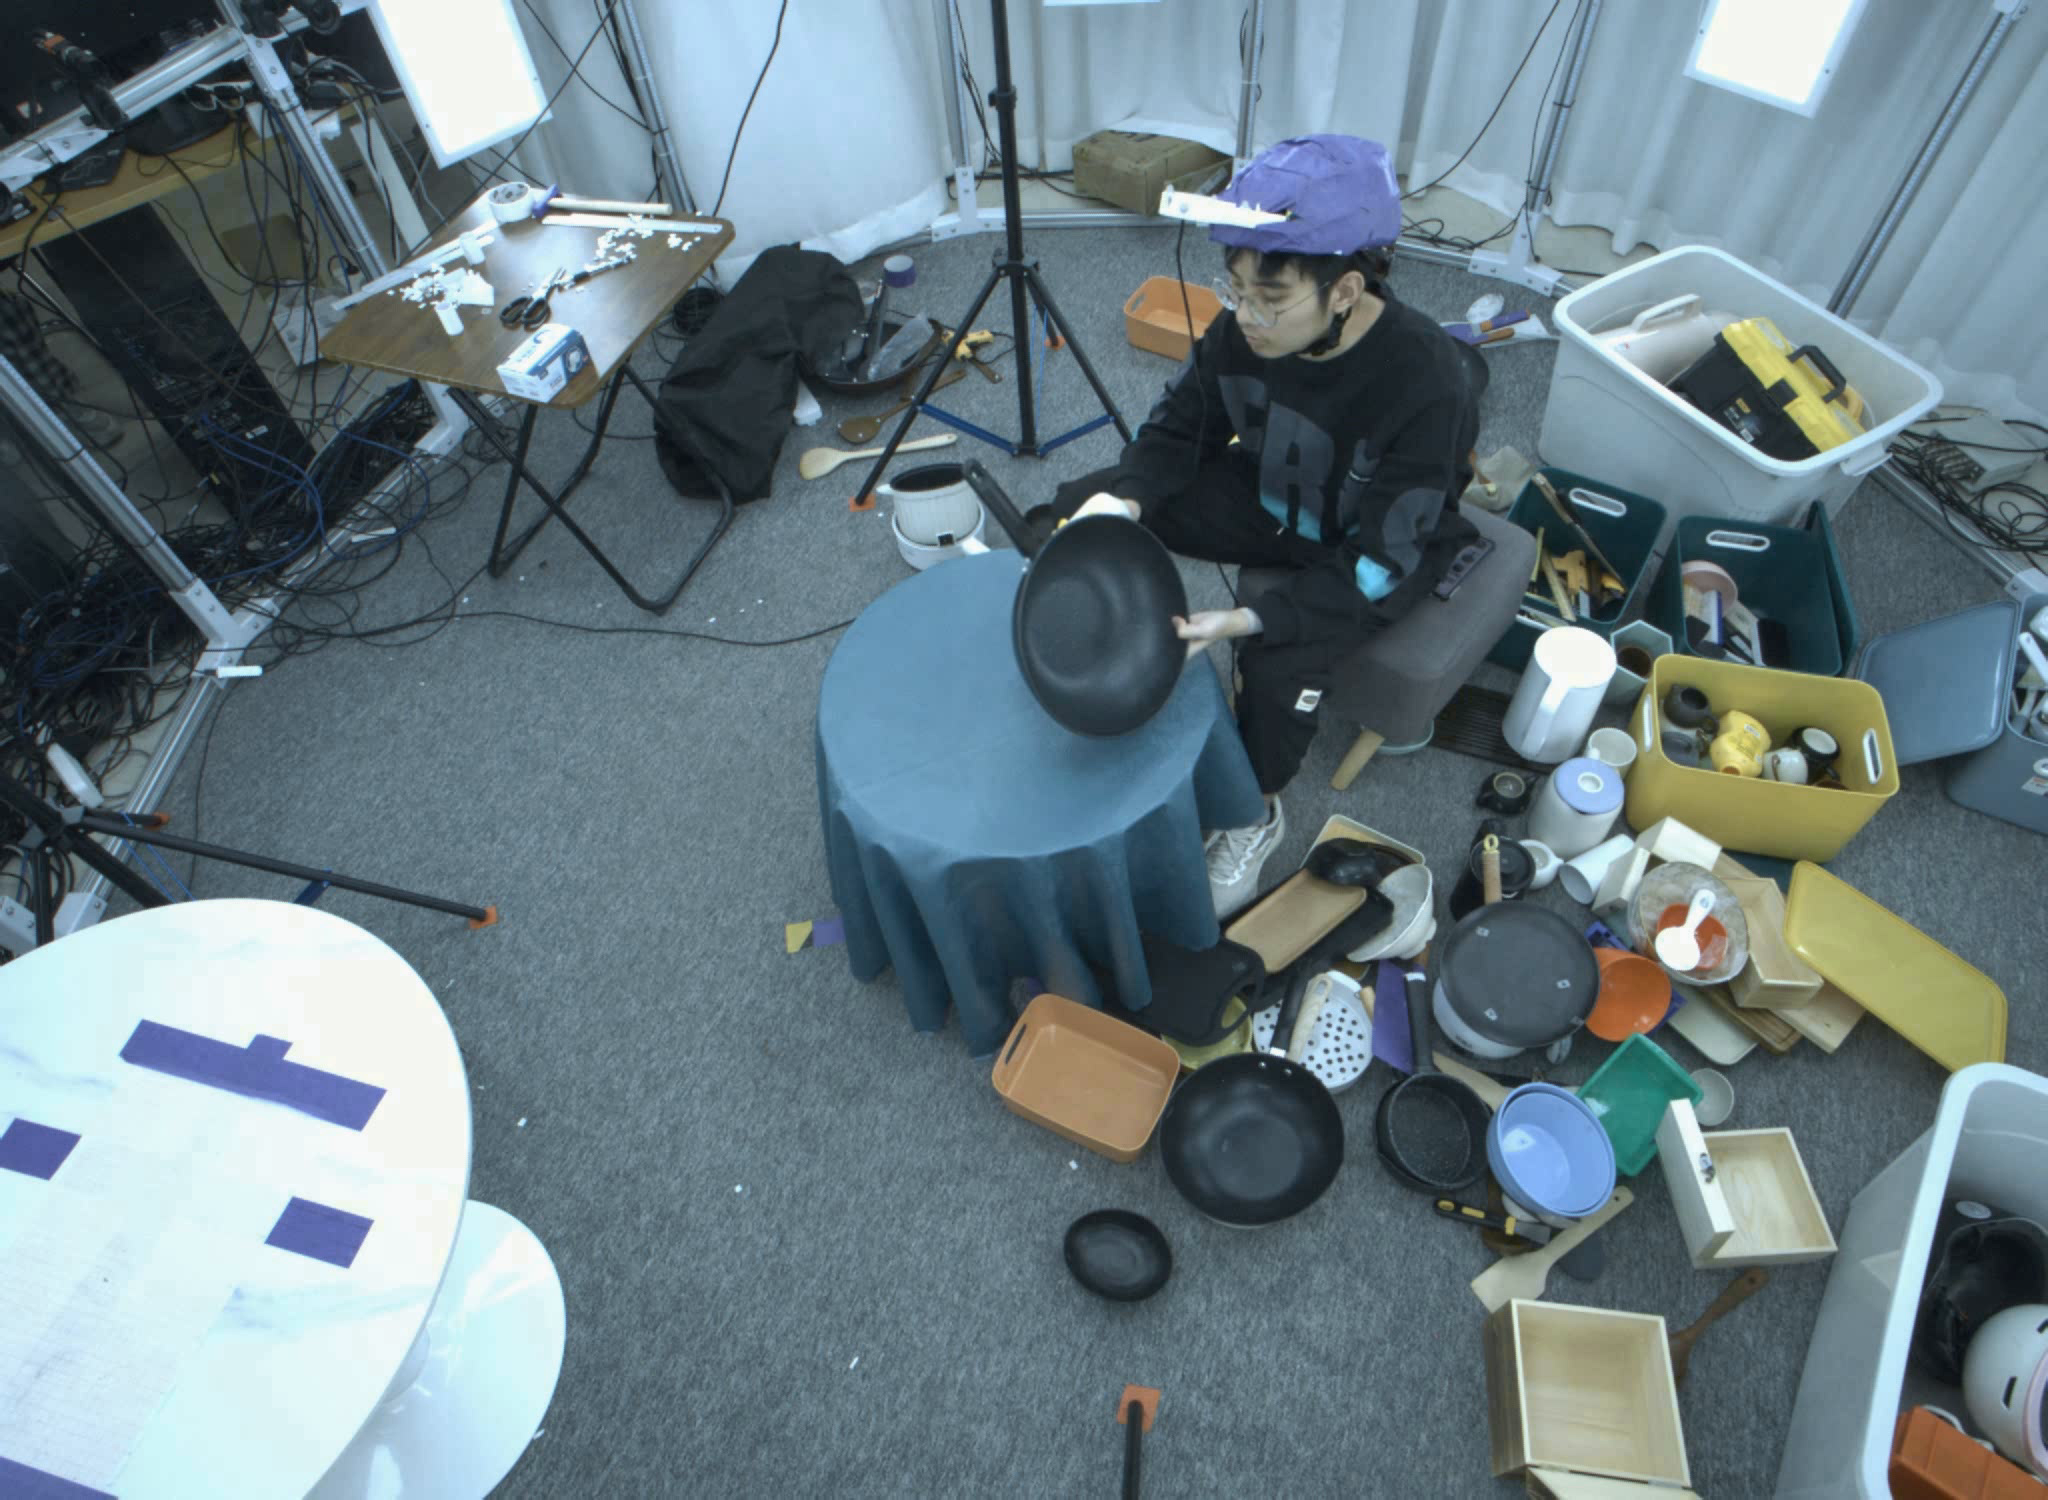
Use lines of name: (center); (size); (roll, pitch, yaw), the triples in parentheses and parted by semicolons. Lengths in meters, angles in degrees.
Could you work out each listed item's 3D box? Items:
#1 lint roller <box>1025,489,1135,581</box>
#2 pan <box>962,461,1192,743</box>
lint roller: (0.094, -0.308, 1.810); (0.074, 0.192, 0.194); (45, 22, 9)
pan: (0.049, -0.212, 1.651); (0.109, 0.487, 0.310); (5, 60, 50)
